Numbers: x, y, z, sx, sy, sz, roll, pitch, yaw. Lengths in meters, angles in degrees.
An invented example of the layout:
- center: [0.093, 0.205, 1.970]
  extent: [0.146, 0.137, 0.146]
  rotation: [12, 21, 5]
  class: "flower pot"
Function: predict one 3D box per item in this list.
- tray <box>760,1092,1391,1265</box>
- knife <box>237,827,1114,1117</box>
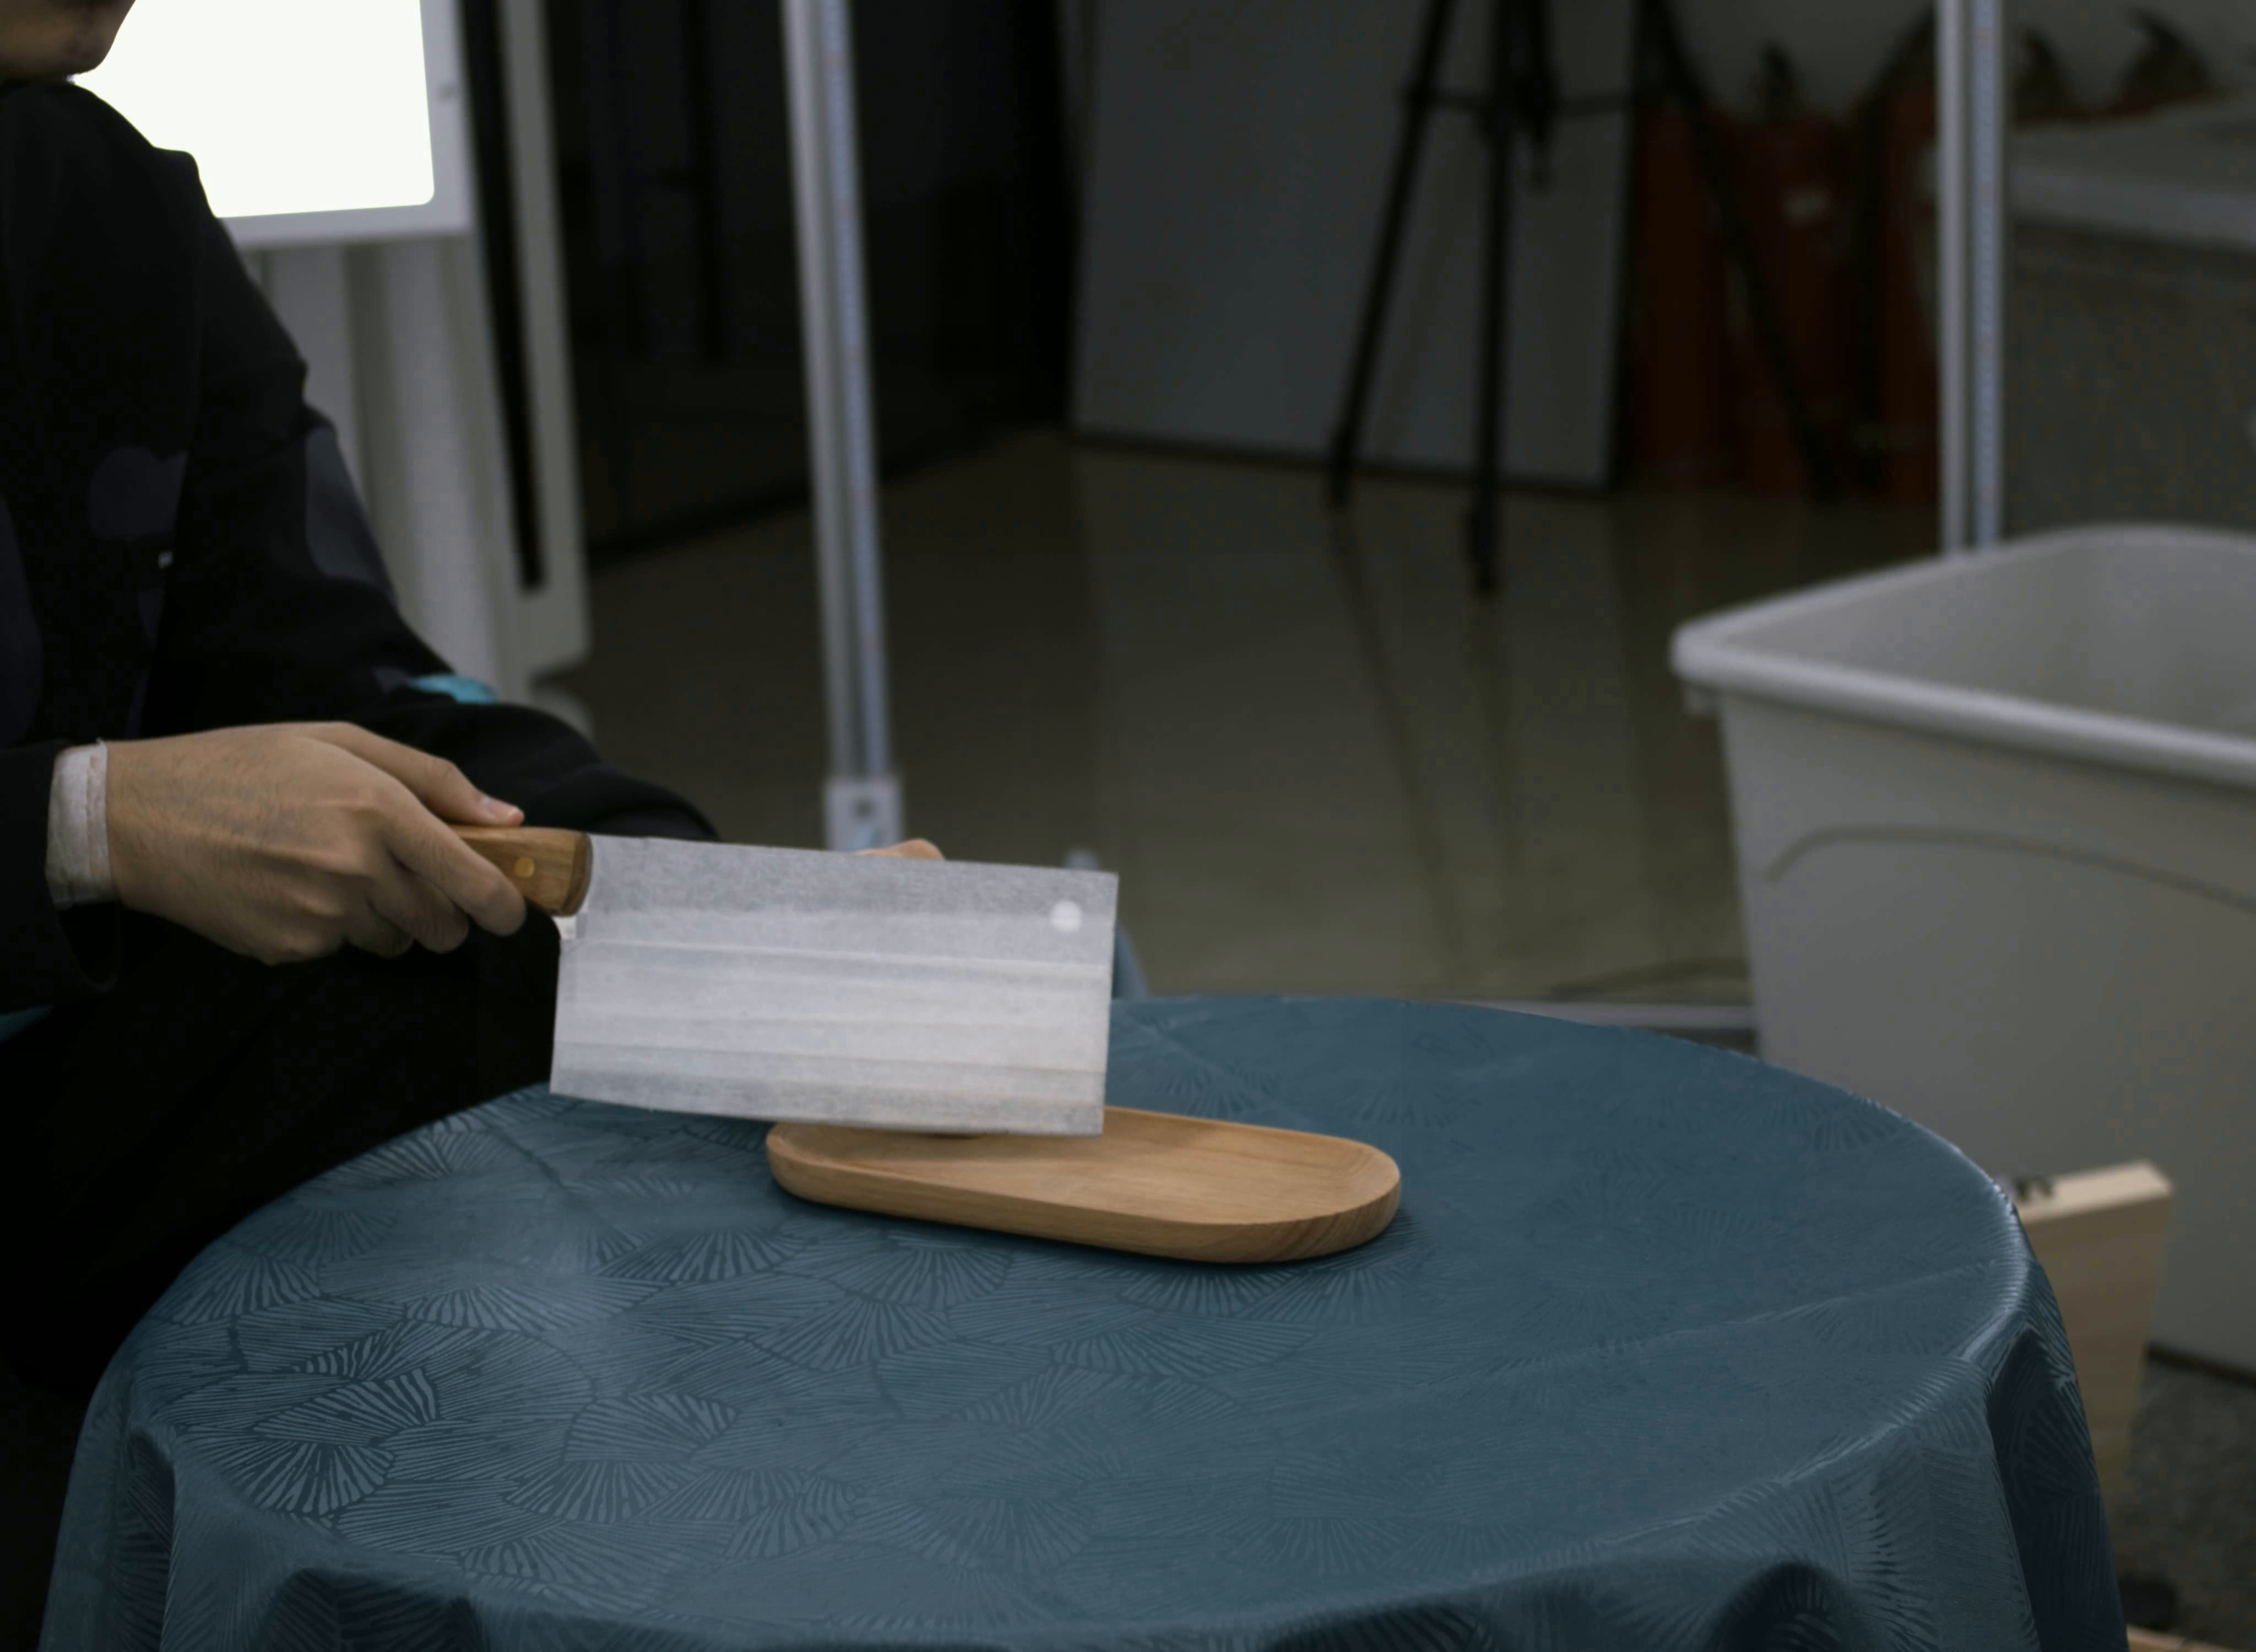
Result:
- center: [-0.019, 0.115, 1.766]
  extent: [0.232, 0.020, 0.100]
  rotation: [4, 14, 35]
  class: "tray"
- center: [-0.153, 0.050, 1.806]
  extent: [0.303, 0.094, 0.021]
  rotation: [4, 3, 11]
  class: "knife"
